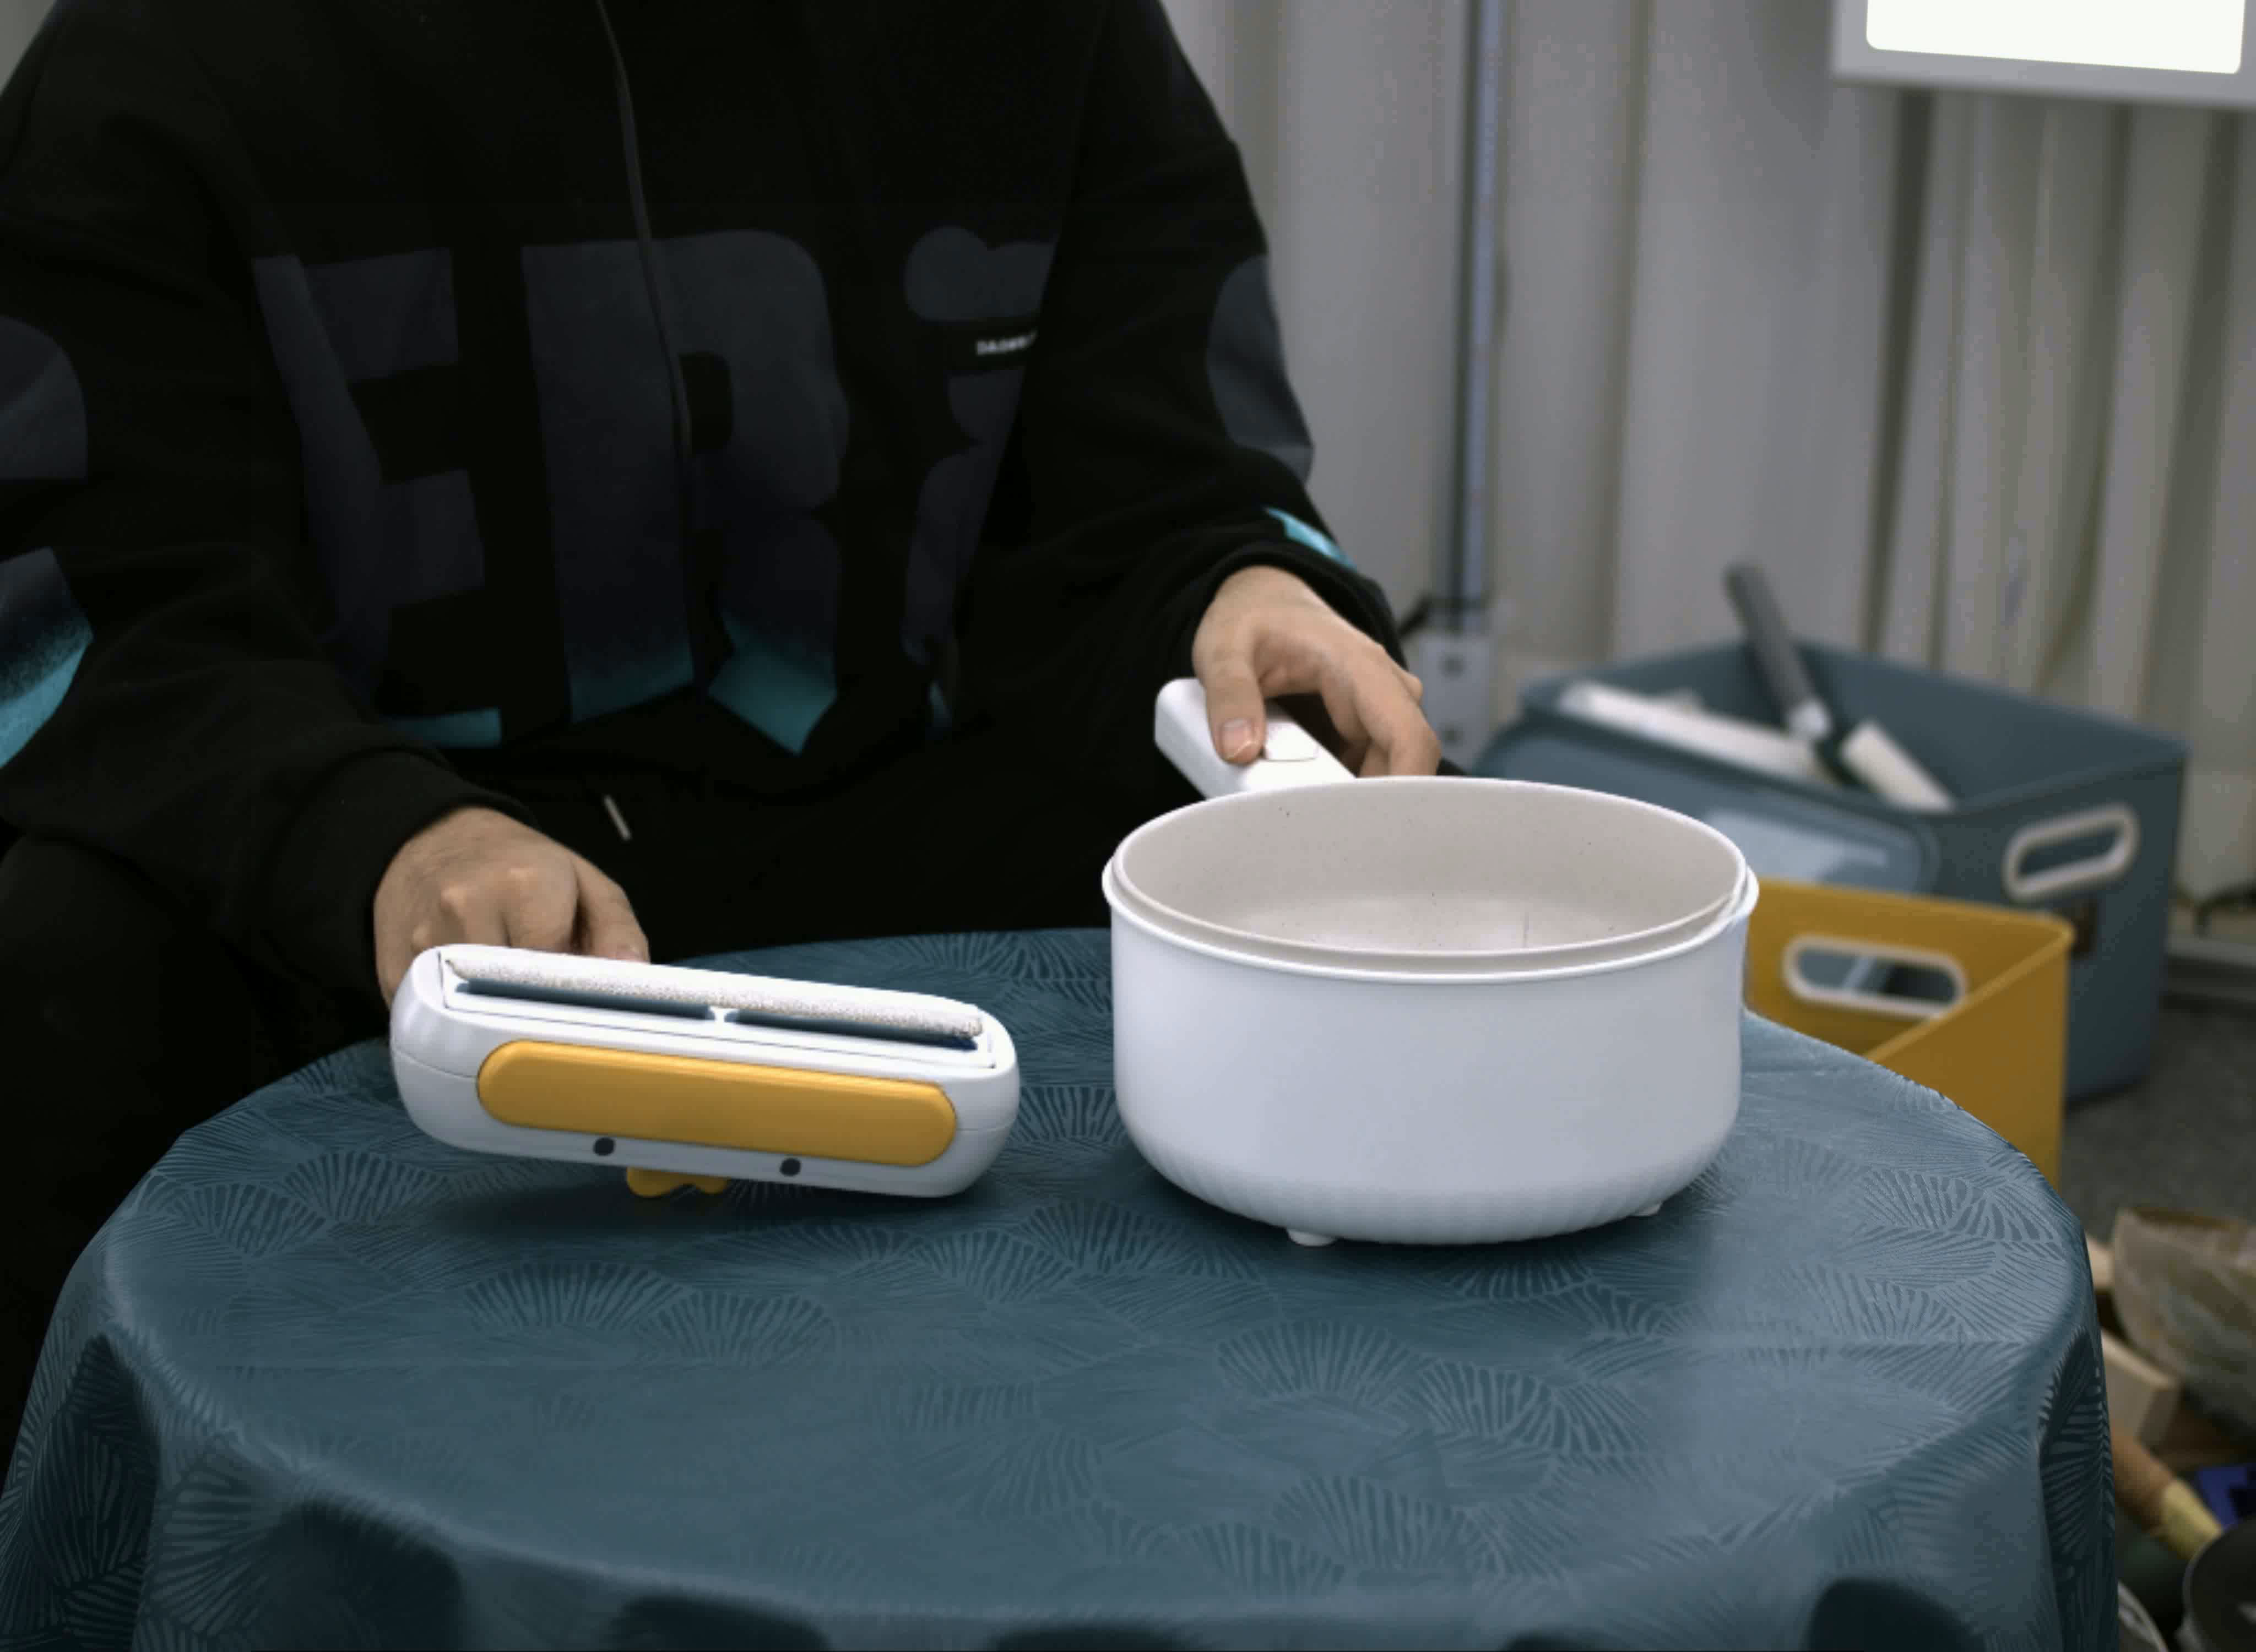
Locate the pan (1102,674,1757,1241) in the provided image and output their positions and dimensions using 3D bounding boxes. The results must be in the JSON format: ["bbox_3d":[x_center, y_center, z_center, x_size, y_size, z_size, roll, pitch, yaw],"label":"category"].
[{"bbox_3d":[0.073,0.038,1.696,0.201,0.103,0.351,-4,16,-14],"label":"pan"}]

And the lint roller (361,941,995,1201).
[{"bbox_3d":[-0.144,0.067,1.653,0.193,0.075,0.191,3,13,-9],"label":"lint roller"}]
